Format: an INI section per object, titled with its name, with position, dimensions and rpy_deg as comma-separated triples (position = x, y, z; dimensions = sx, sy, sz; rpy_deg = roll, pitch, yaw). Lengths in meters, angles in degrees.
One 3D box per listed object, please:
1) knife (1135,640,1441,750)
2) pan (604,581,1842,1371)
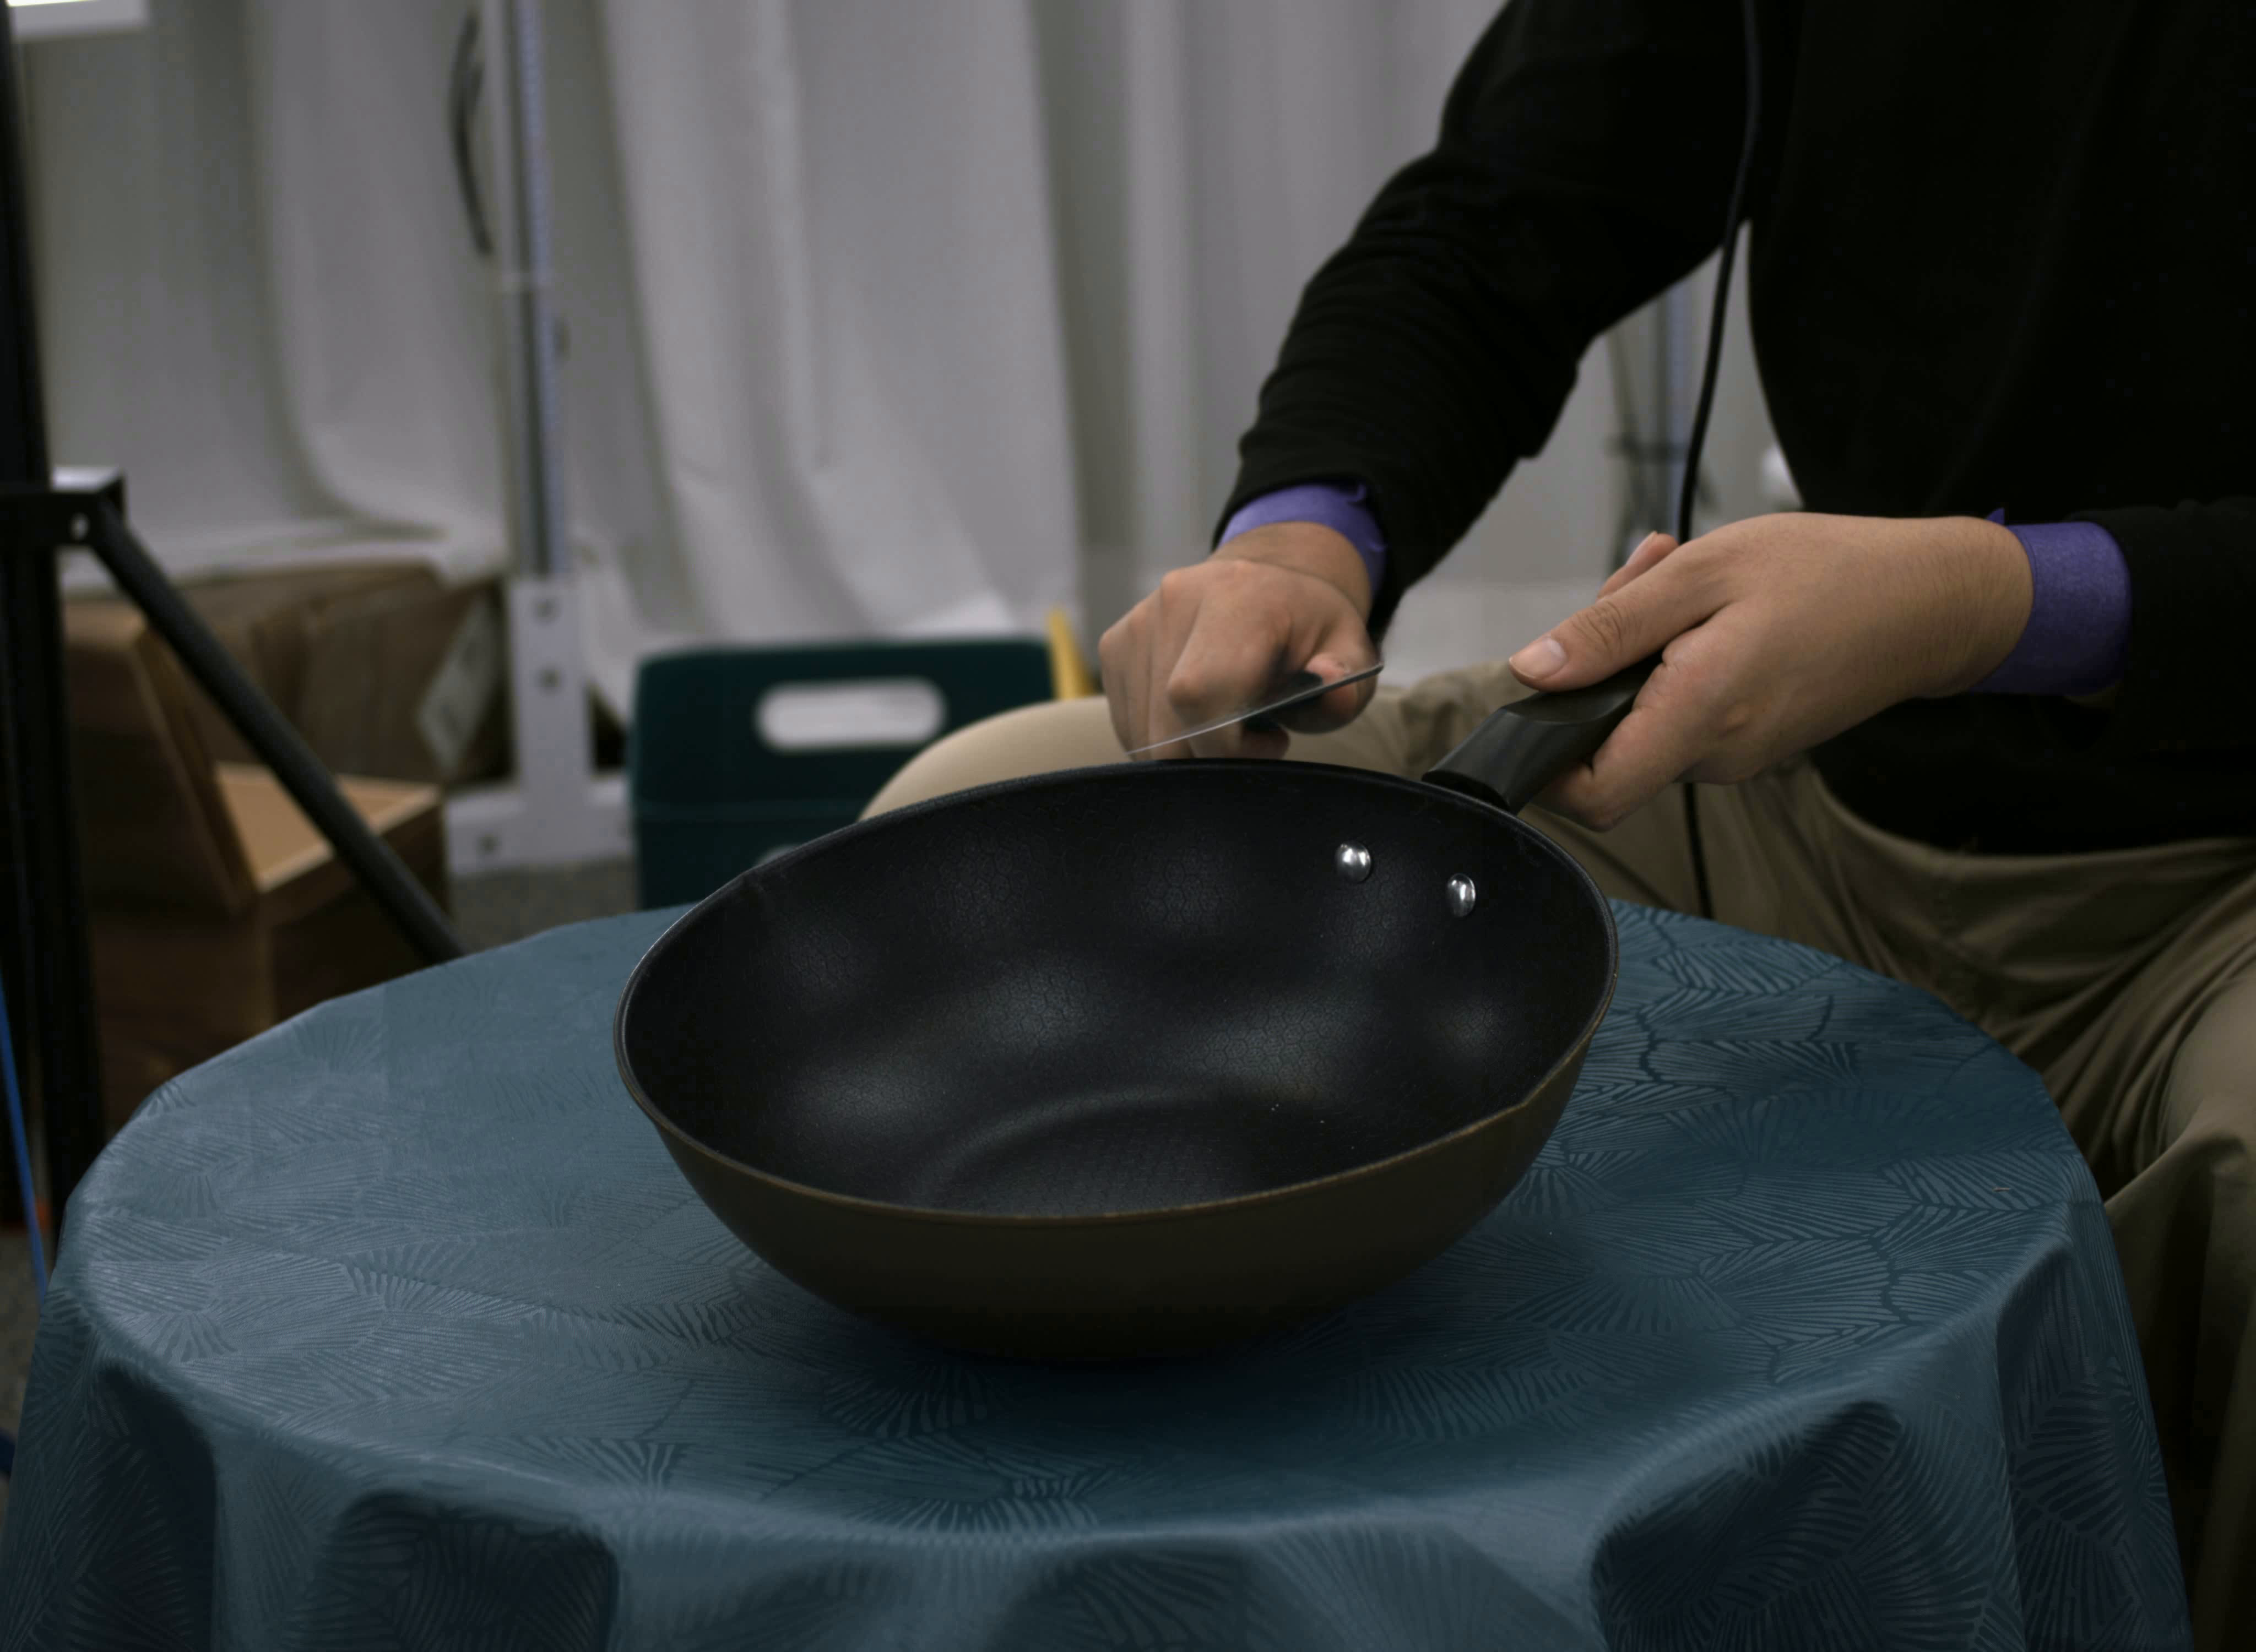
[knife]
position = 0.039, -0.037, 1.638
dimensions = 0.080, 0.021, 0.303
rpy_deg = -19, 1, -5
[pan]
position = 0.059, 0.042, 1.537
dimensions = 0.294, 0.086, 0.455
rpy_deg = 16, 33, 41
